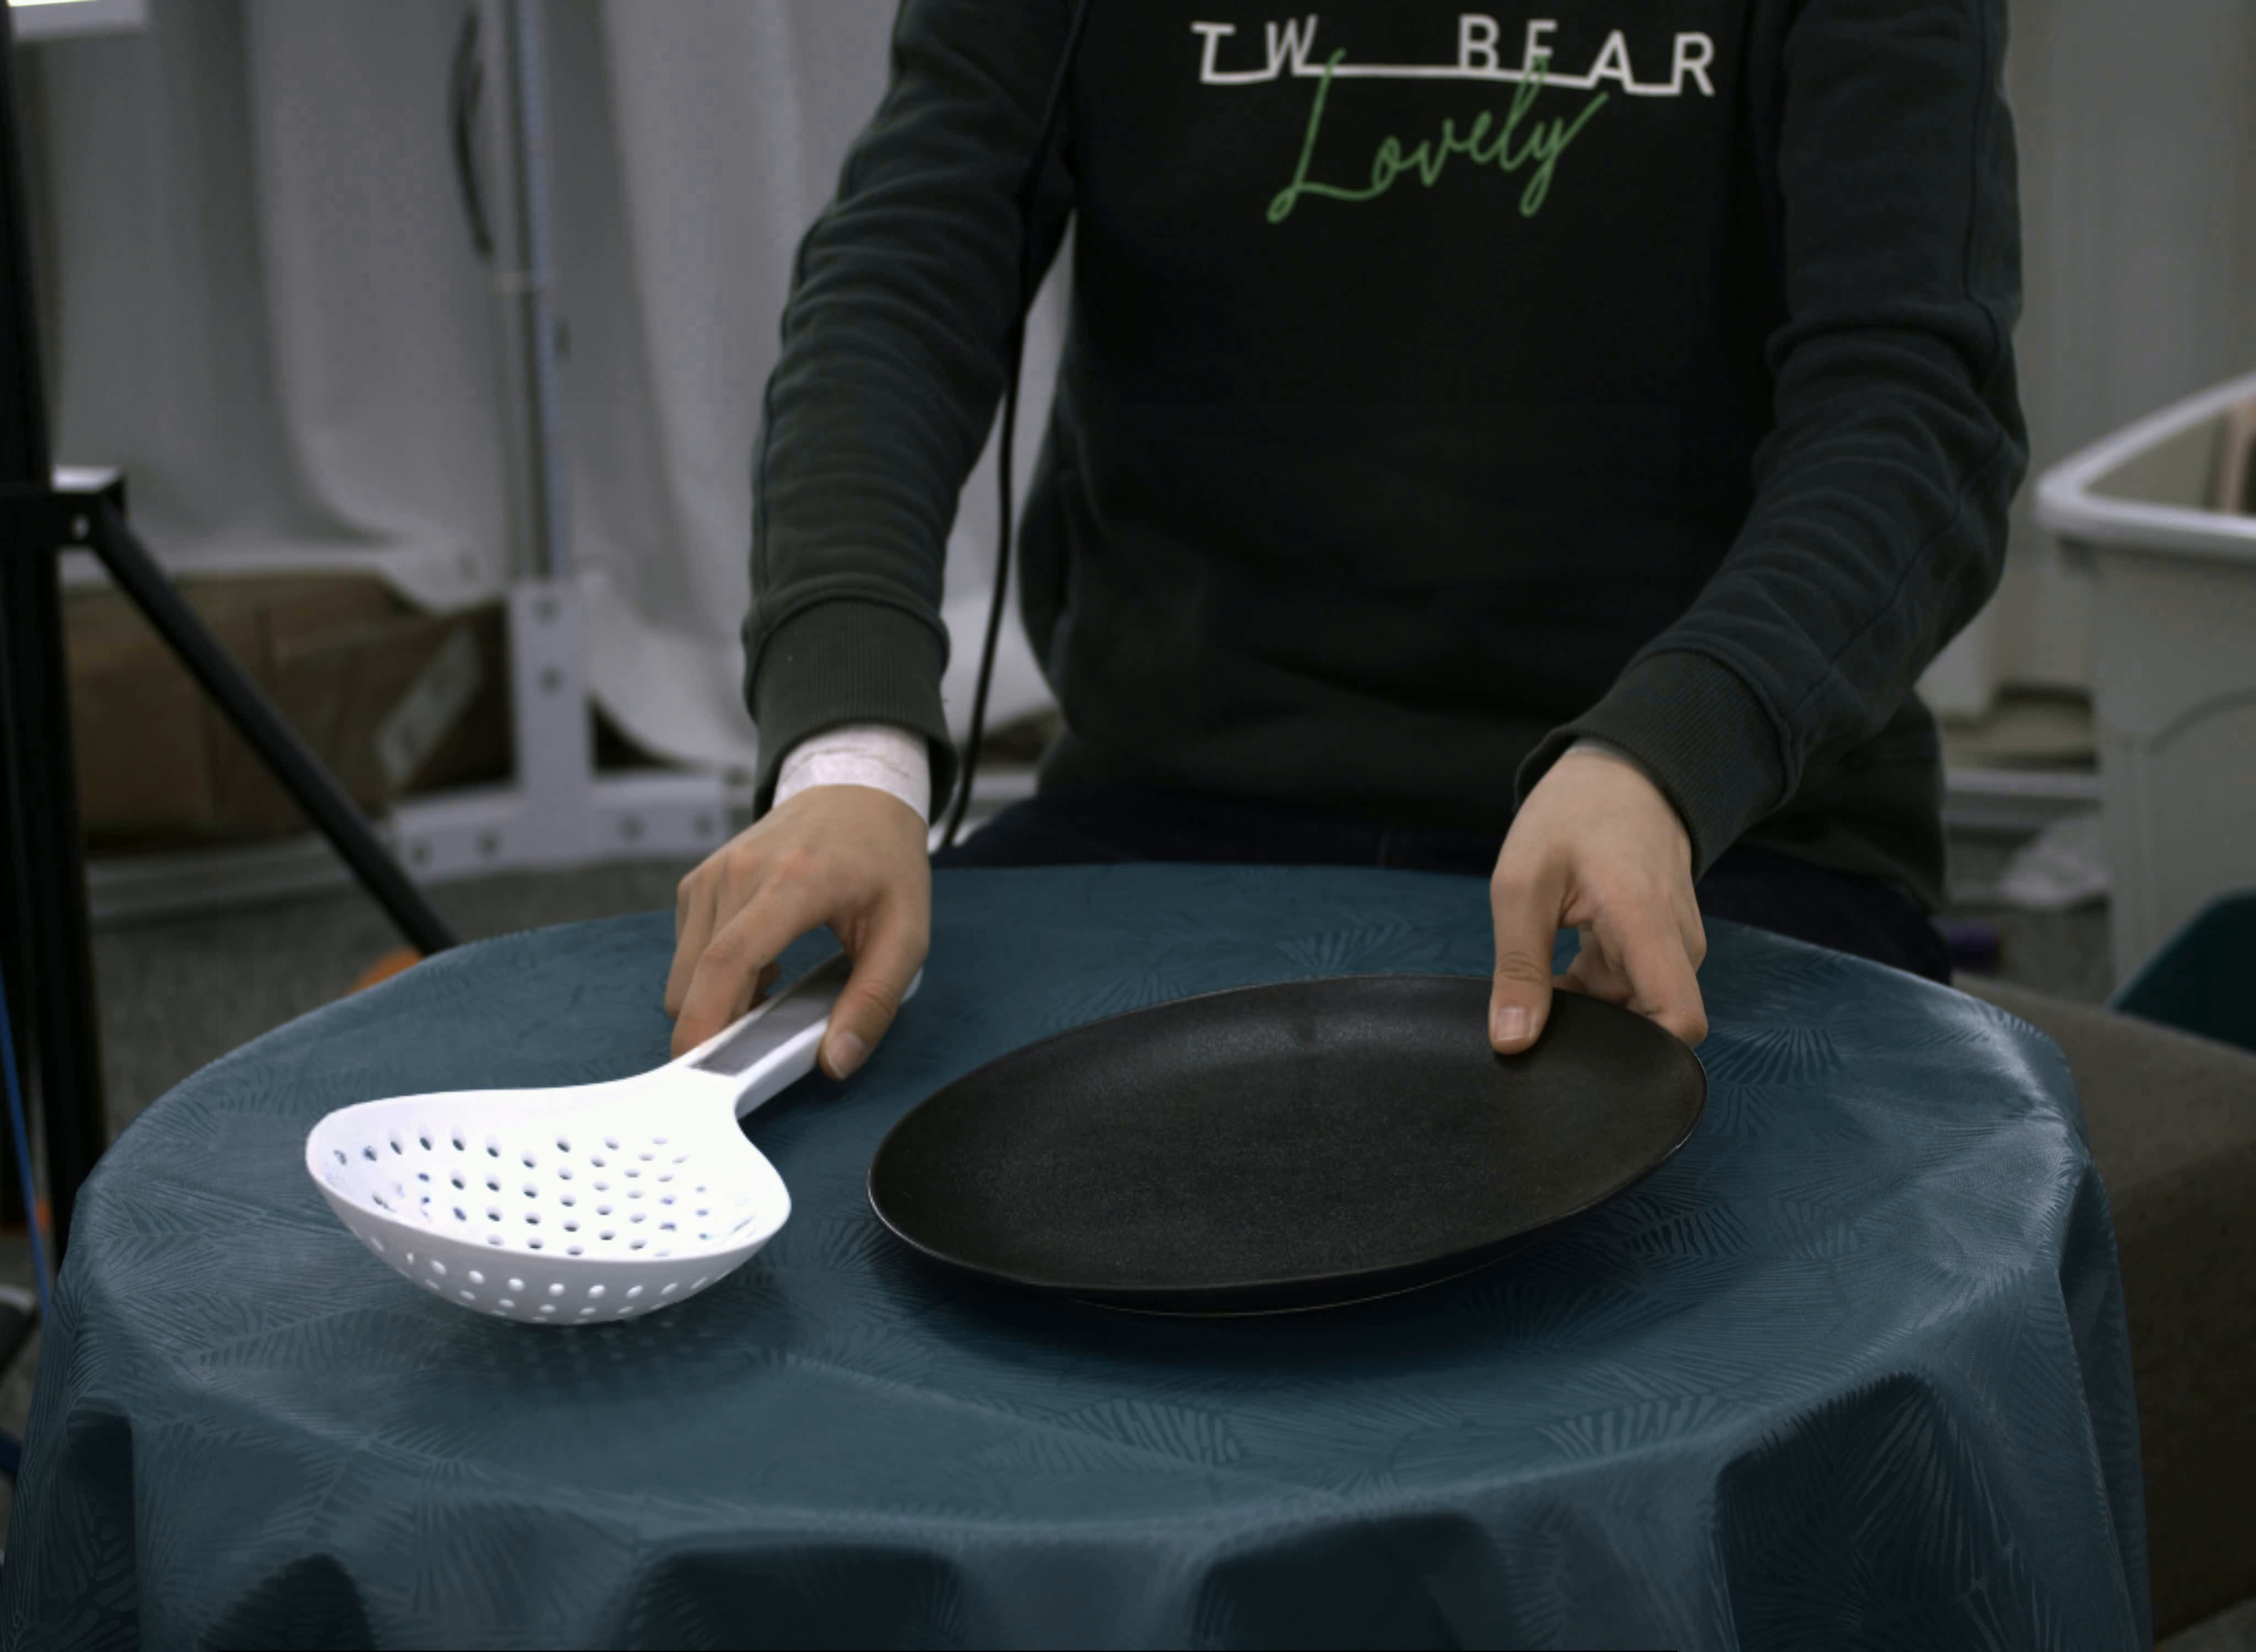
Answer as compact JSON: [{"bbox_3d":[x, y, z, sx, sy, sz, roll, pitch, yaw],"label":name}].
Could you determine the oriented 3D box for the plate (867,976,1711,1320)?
[{"bbox_3d":[0.047,0.095,1.524,0.243,0.023,0.246,-8,17,1],"label":"plate"}]

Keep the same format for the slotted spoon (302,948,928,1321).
[{"bbox_3d":[-0.130,0.082,1.581,0.137,0.046,0.346,13,20,15],"label":"slotted spoon"}]
